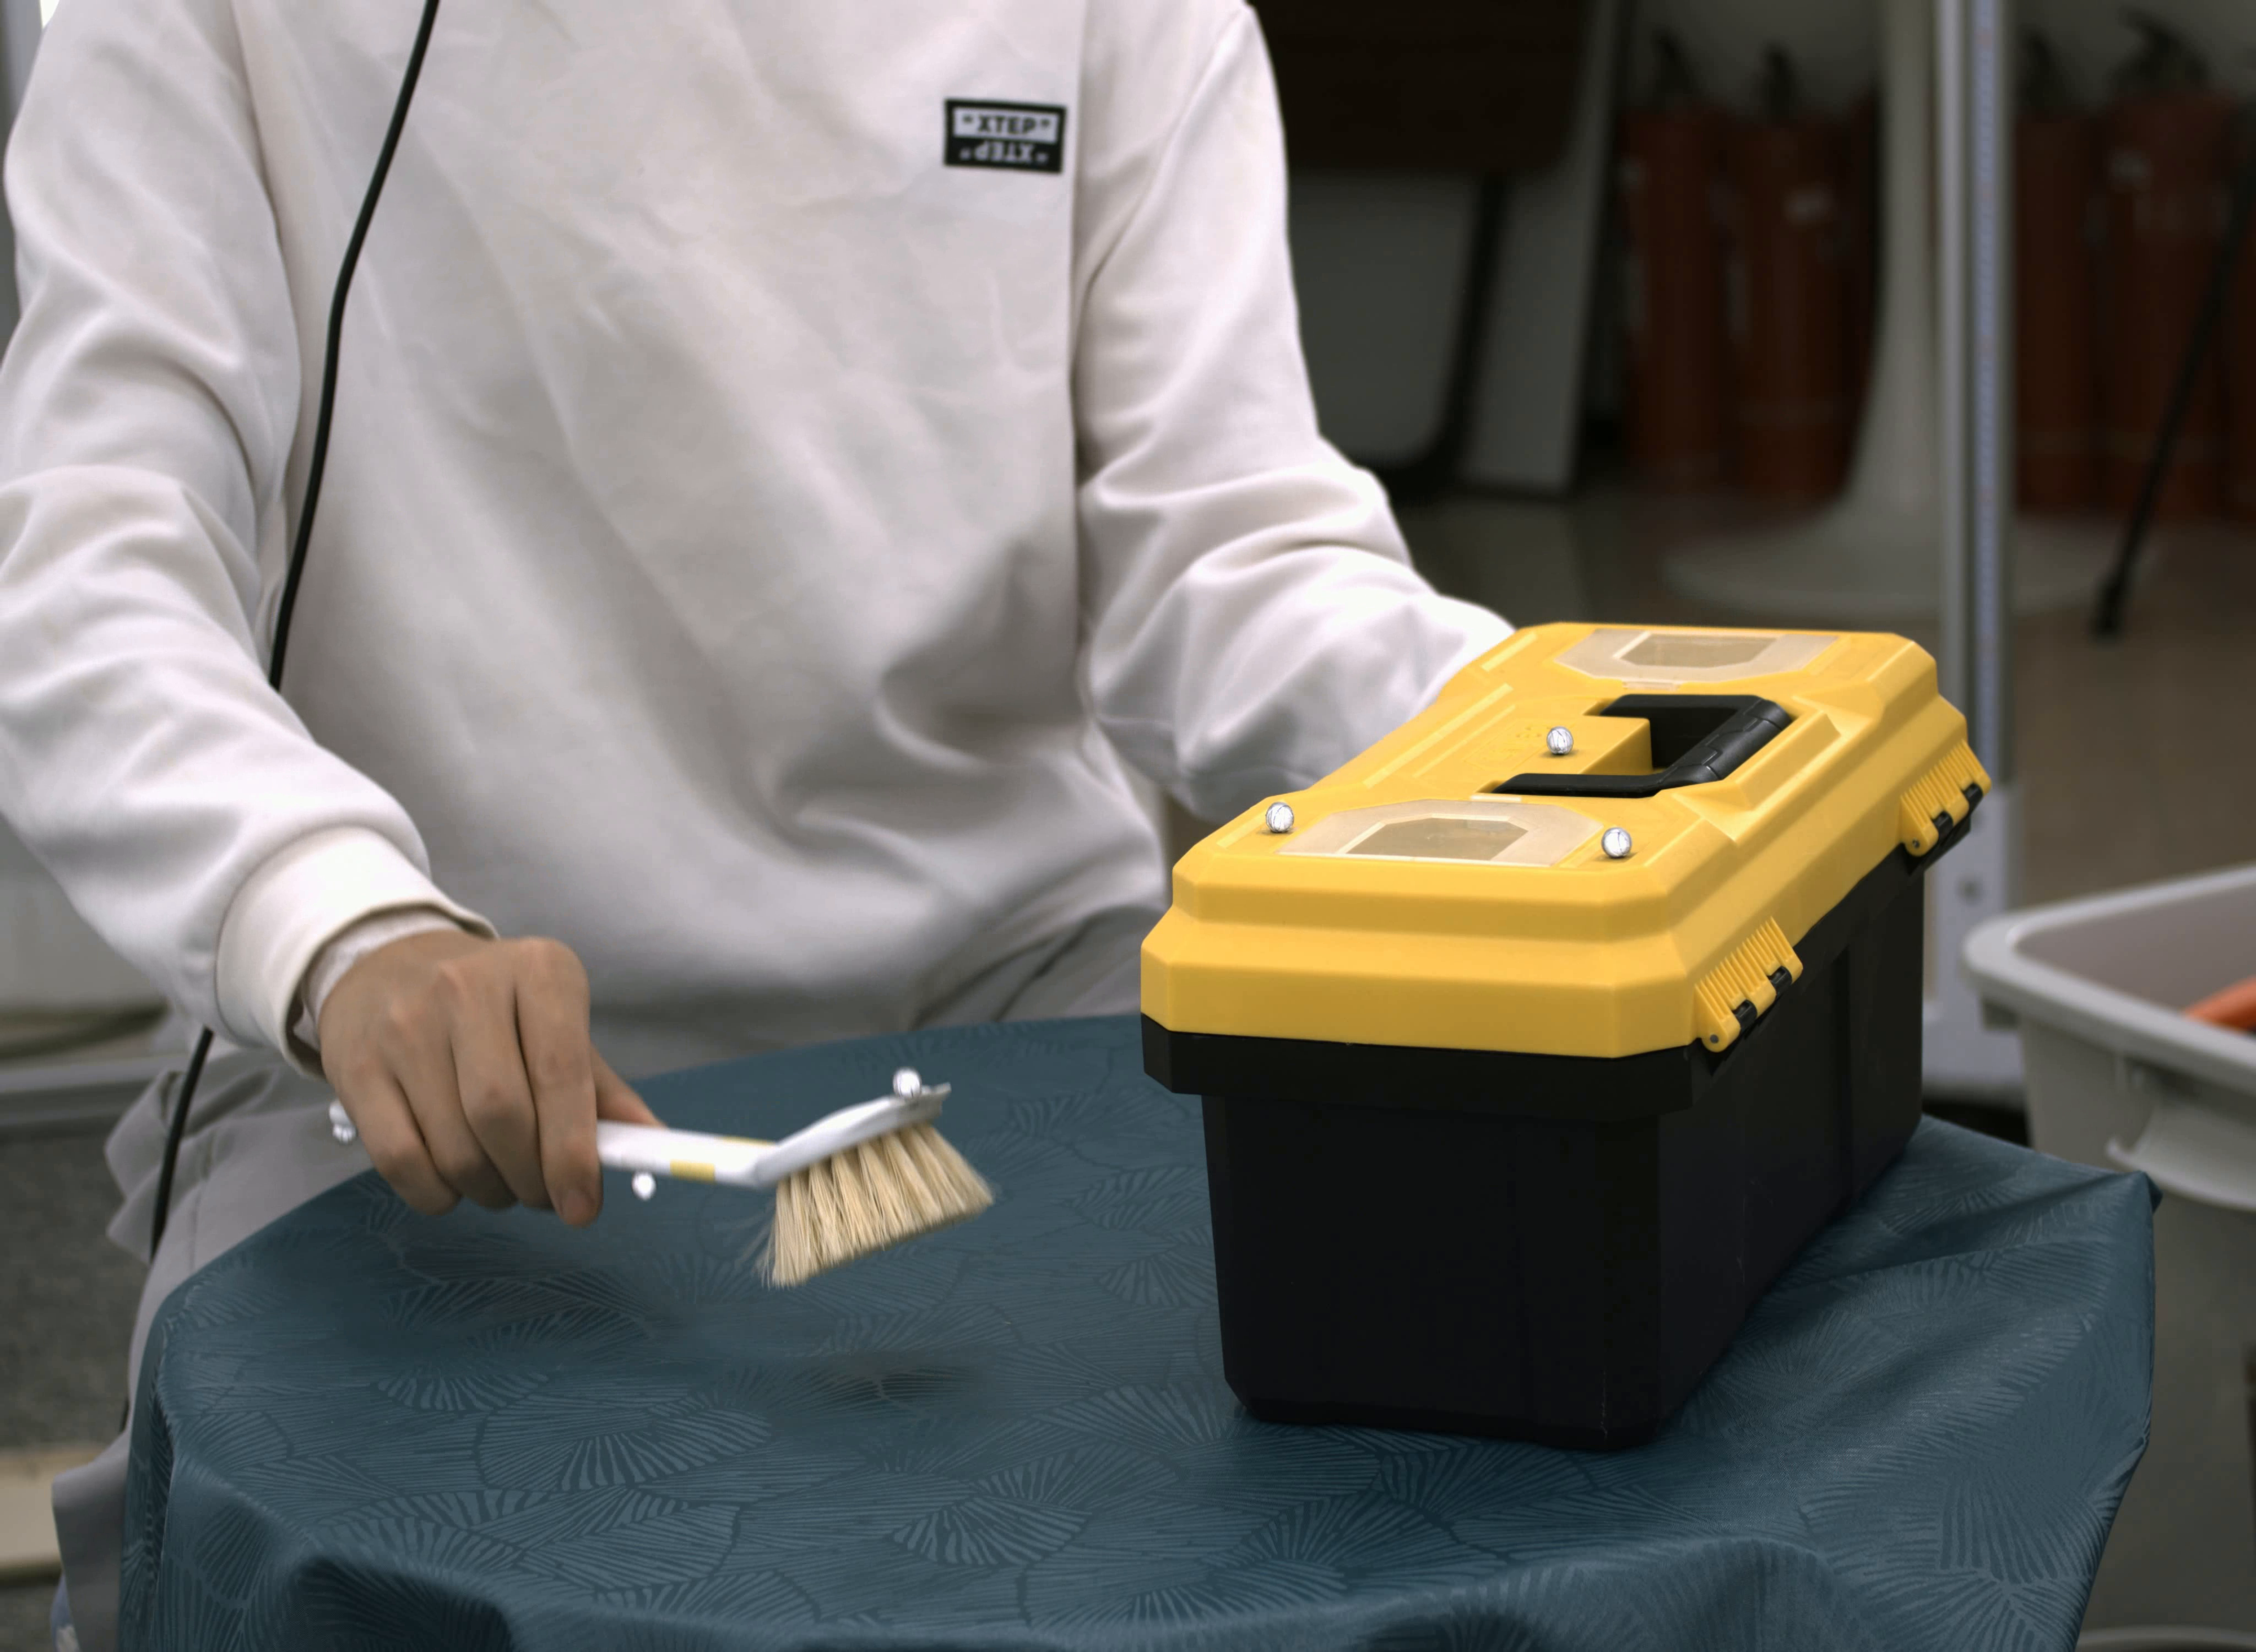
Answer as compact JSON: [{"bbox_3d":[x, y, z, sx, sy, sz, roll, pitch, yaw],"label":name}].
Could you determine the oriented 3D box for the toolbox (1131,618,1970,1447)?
[{"bbox_3d":[0.139,0.054,1.645,0.181,0.175,0.347,3,14,23],"label":"toolbox"}]

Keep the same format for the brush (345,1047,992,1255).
[{"bbox_3d":[-0.147,0.109,1.667,0.268,0.057,0.067,-10,-8,42],"label":"brush"}]
